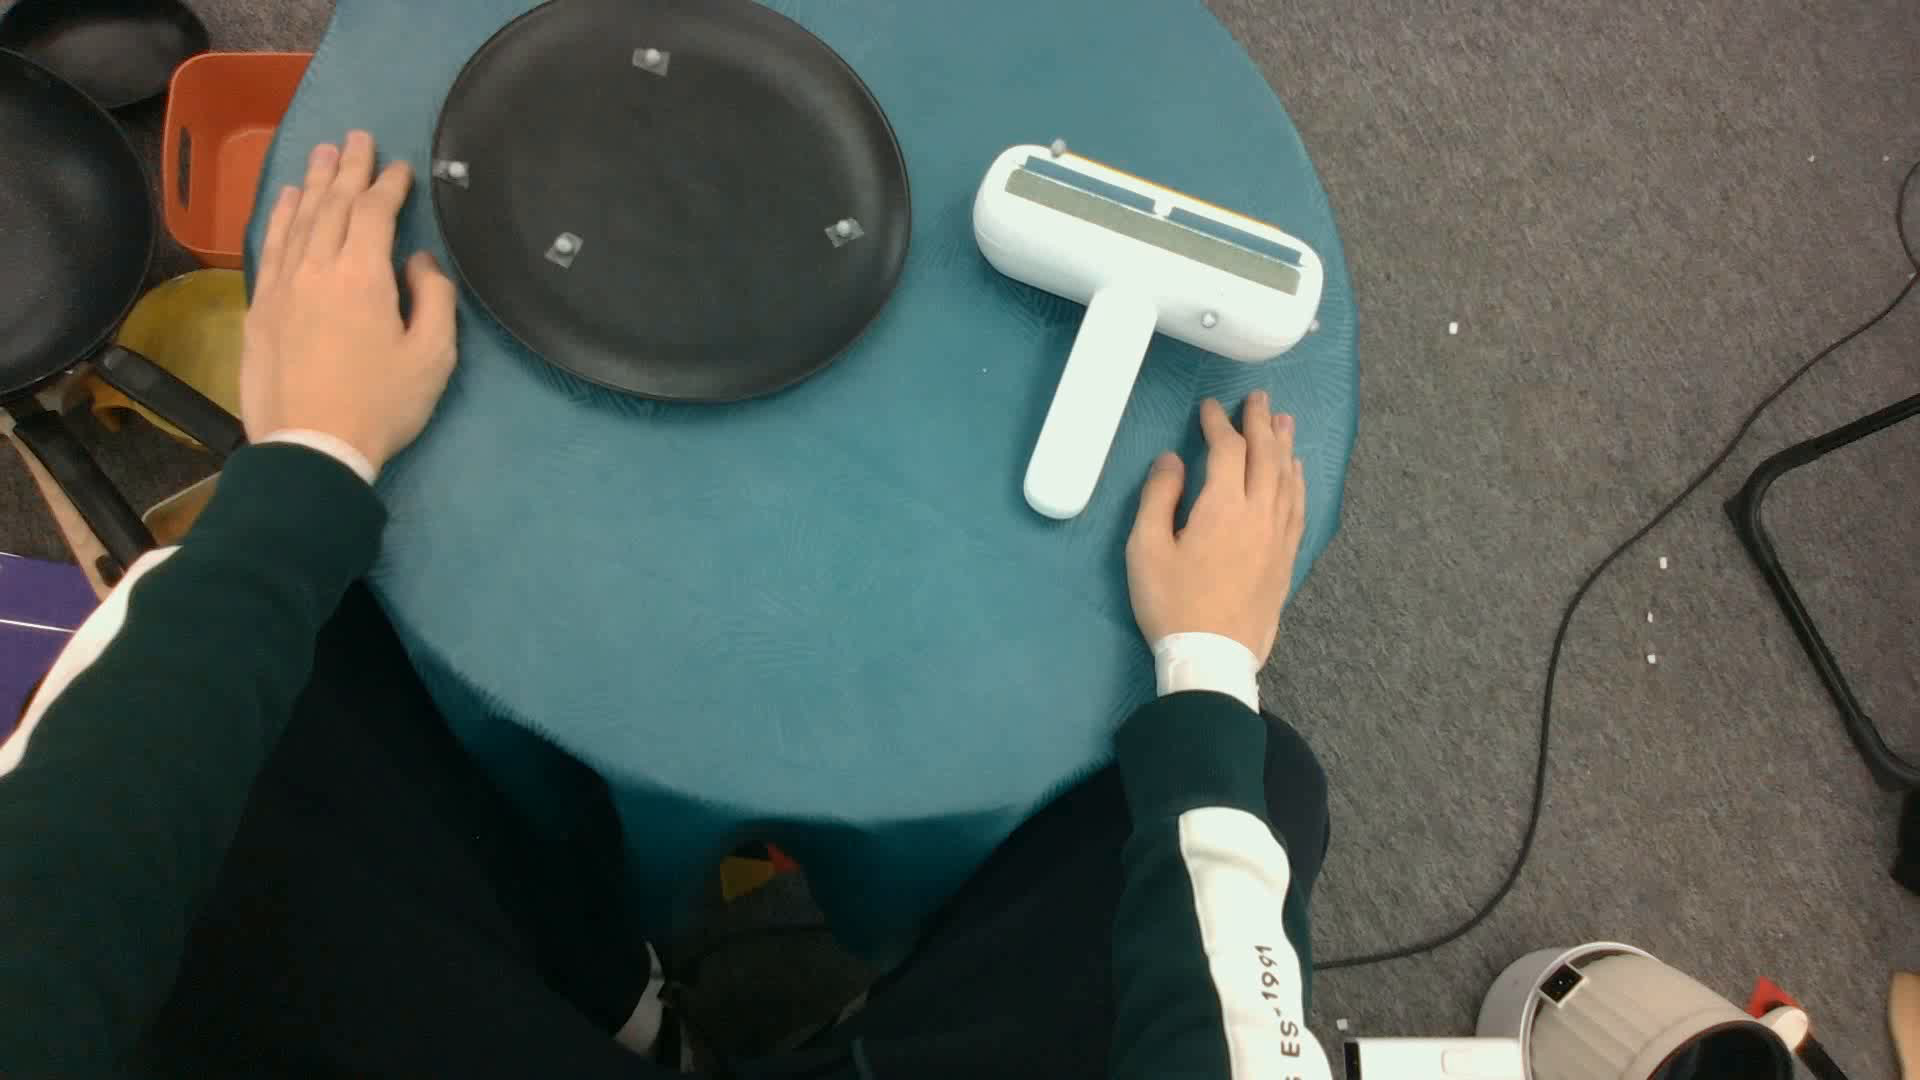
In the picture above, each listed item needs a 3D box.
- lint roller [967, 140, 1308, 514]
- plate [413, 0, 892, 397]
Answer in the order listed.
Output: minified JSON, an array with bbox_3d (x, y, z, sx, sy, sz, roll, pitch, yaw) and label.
[{"bbox_3d":[0.070,-0.105,0.757,0.193,0.074,0.192,26,82,1],"label":"lint roller"},{"bbox_3d":[-0.157,-0.185,0.724,0.244,0.023,0.245,5,72,-14],"label":"plate"}]
